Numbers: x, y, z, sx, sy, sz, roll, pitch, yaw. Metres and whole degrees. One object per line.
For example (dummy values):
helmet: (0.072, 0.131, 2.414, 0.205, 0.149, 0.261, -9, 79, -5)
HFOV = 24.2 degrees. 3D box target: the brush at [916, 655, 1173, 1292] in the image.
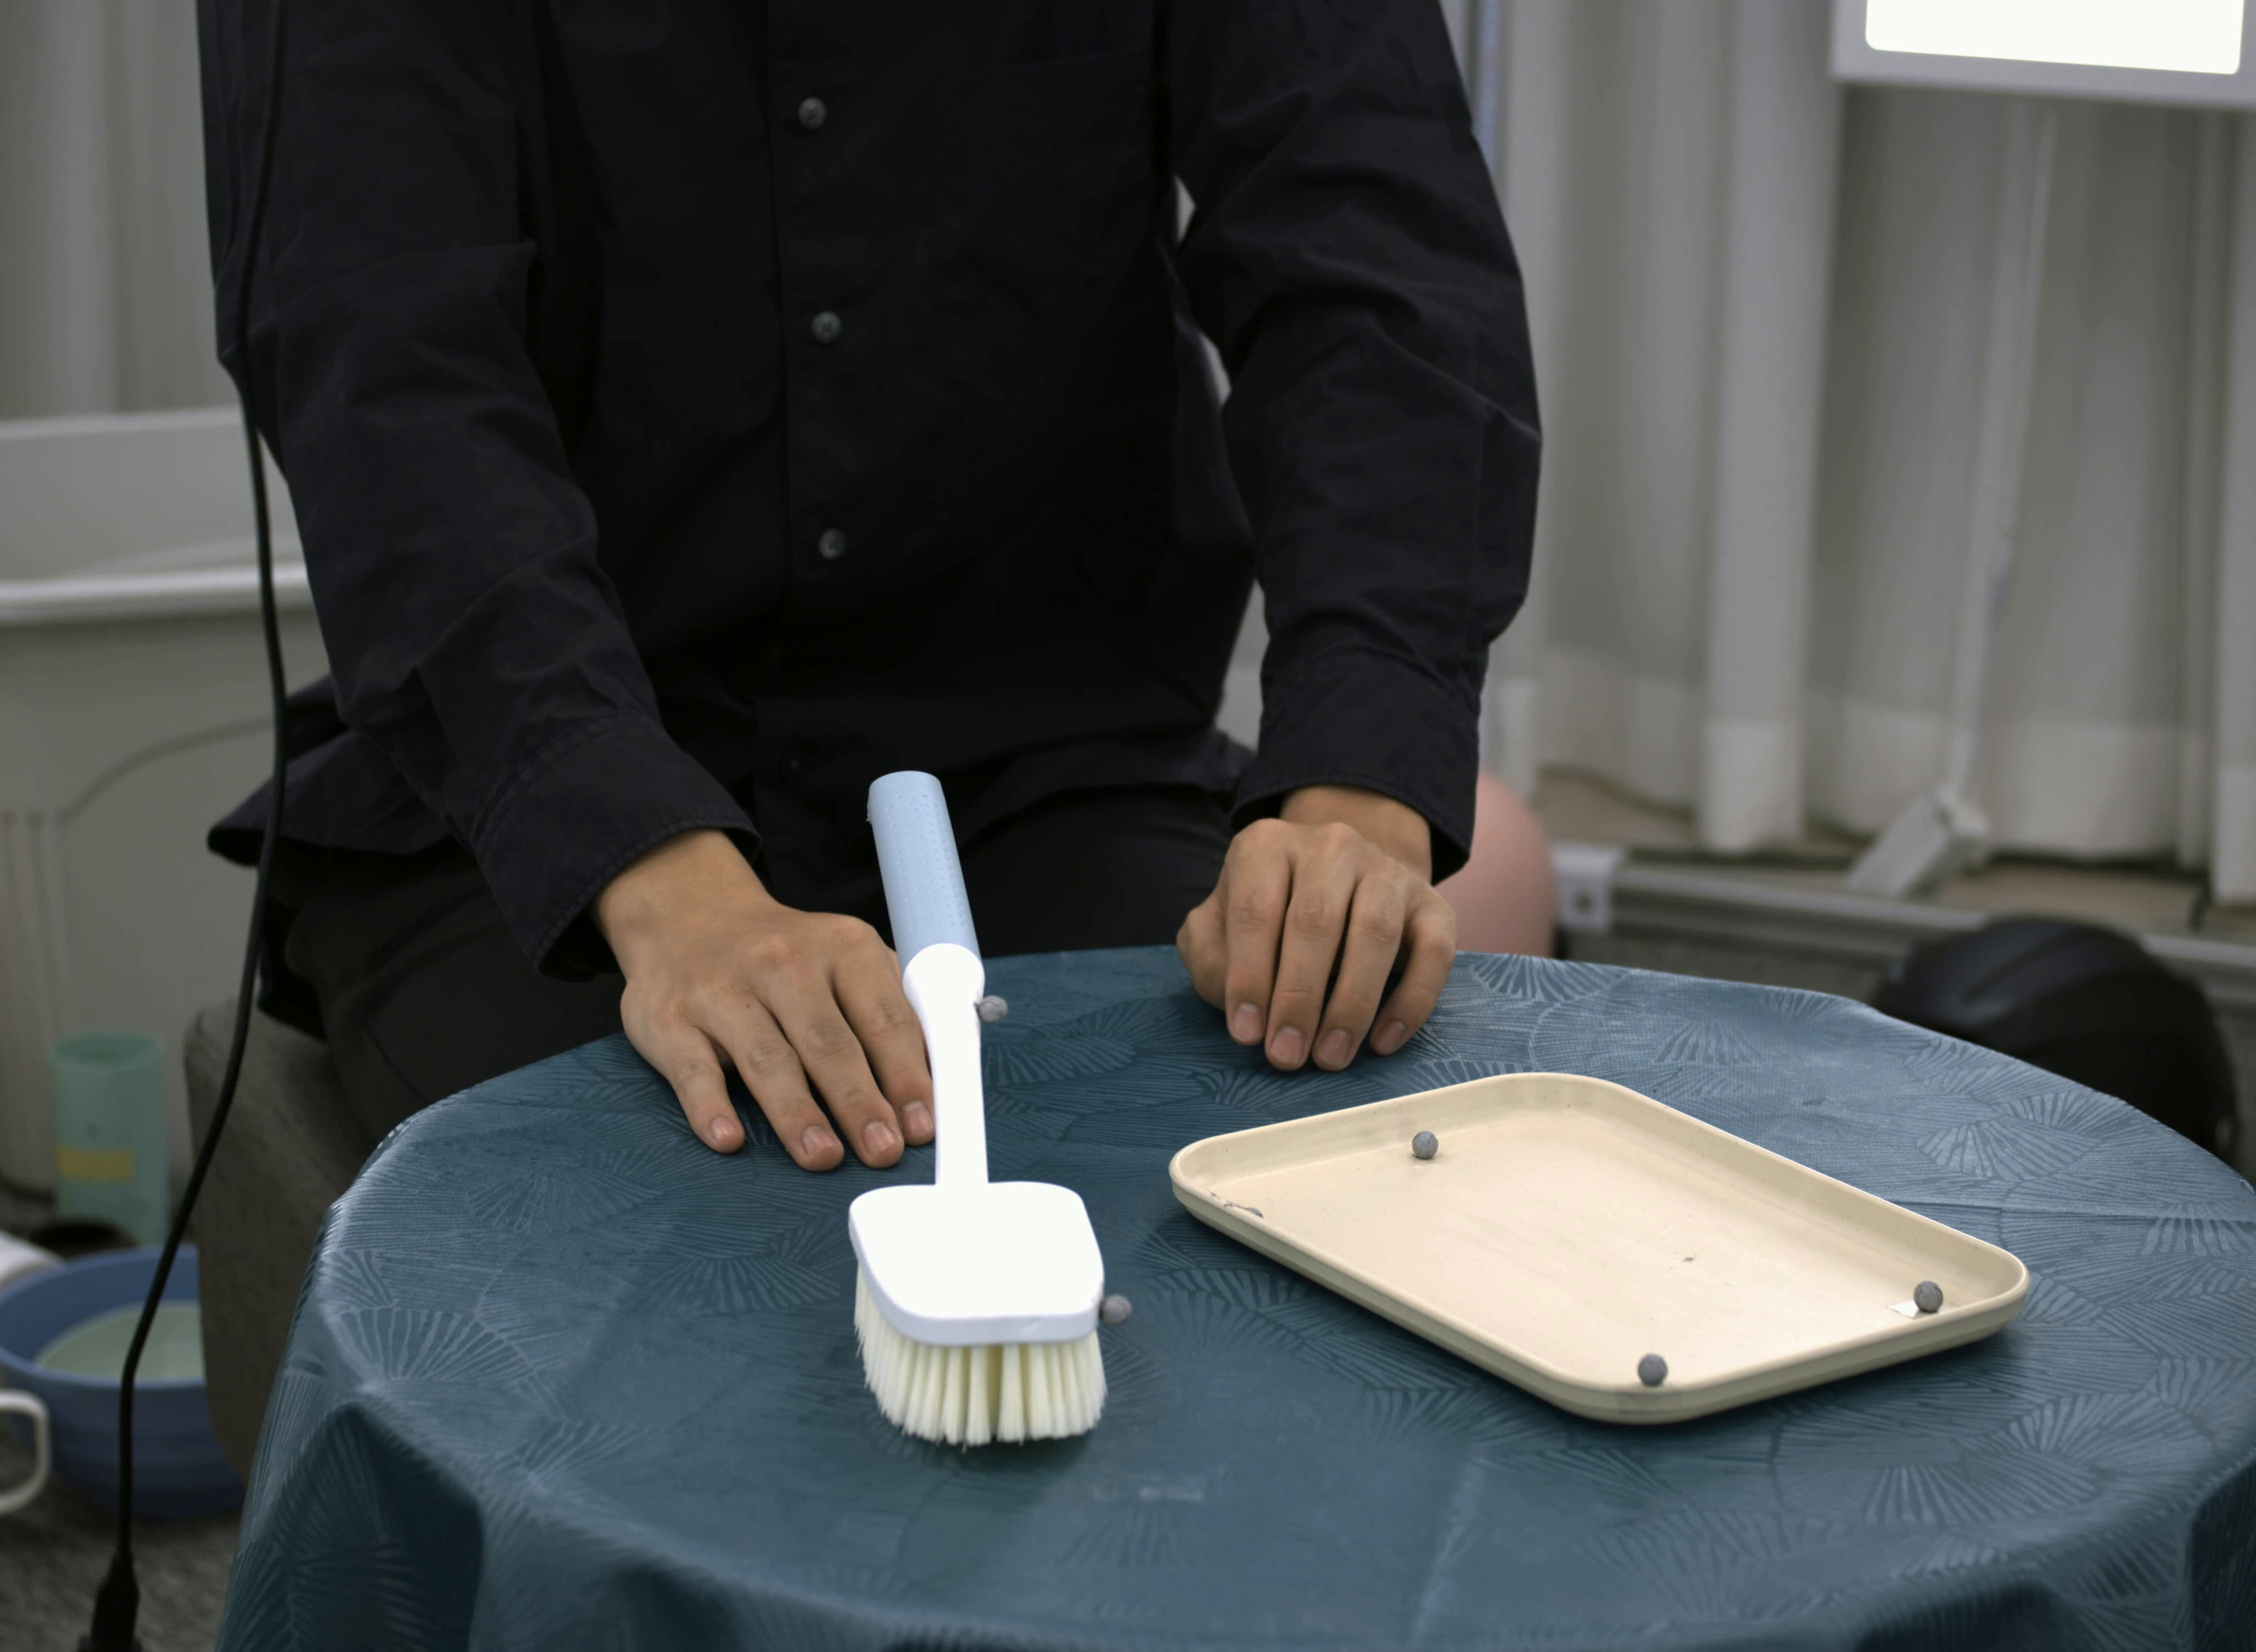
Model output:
brush: (-0.030, 0.056, 1.585, 0.084, 0.084, 0.322, 34, 18, -22)

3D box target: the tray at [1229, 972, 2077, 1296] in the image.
tray: (0.155, 0.091, 1.592, 0.172, 0.017, 0.236, -9, 19, -33)
